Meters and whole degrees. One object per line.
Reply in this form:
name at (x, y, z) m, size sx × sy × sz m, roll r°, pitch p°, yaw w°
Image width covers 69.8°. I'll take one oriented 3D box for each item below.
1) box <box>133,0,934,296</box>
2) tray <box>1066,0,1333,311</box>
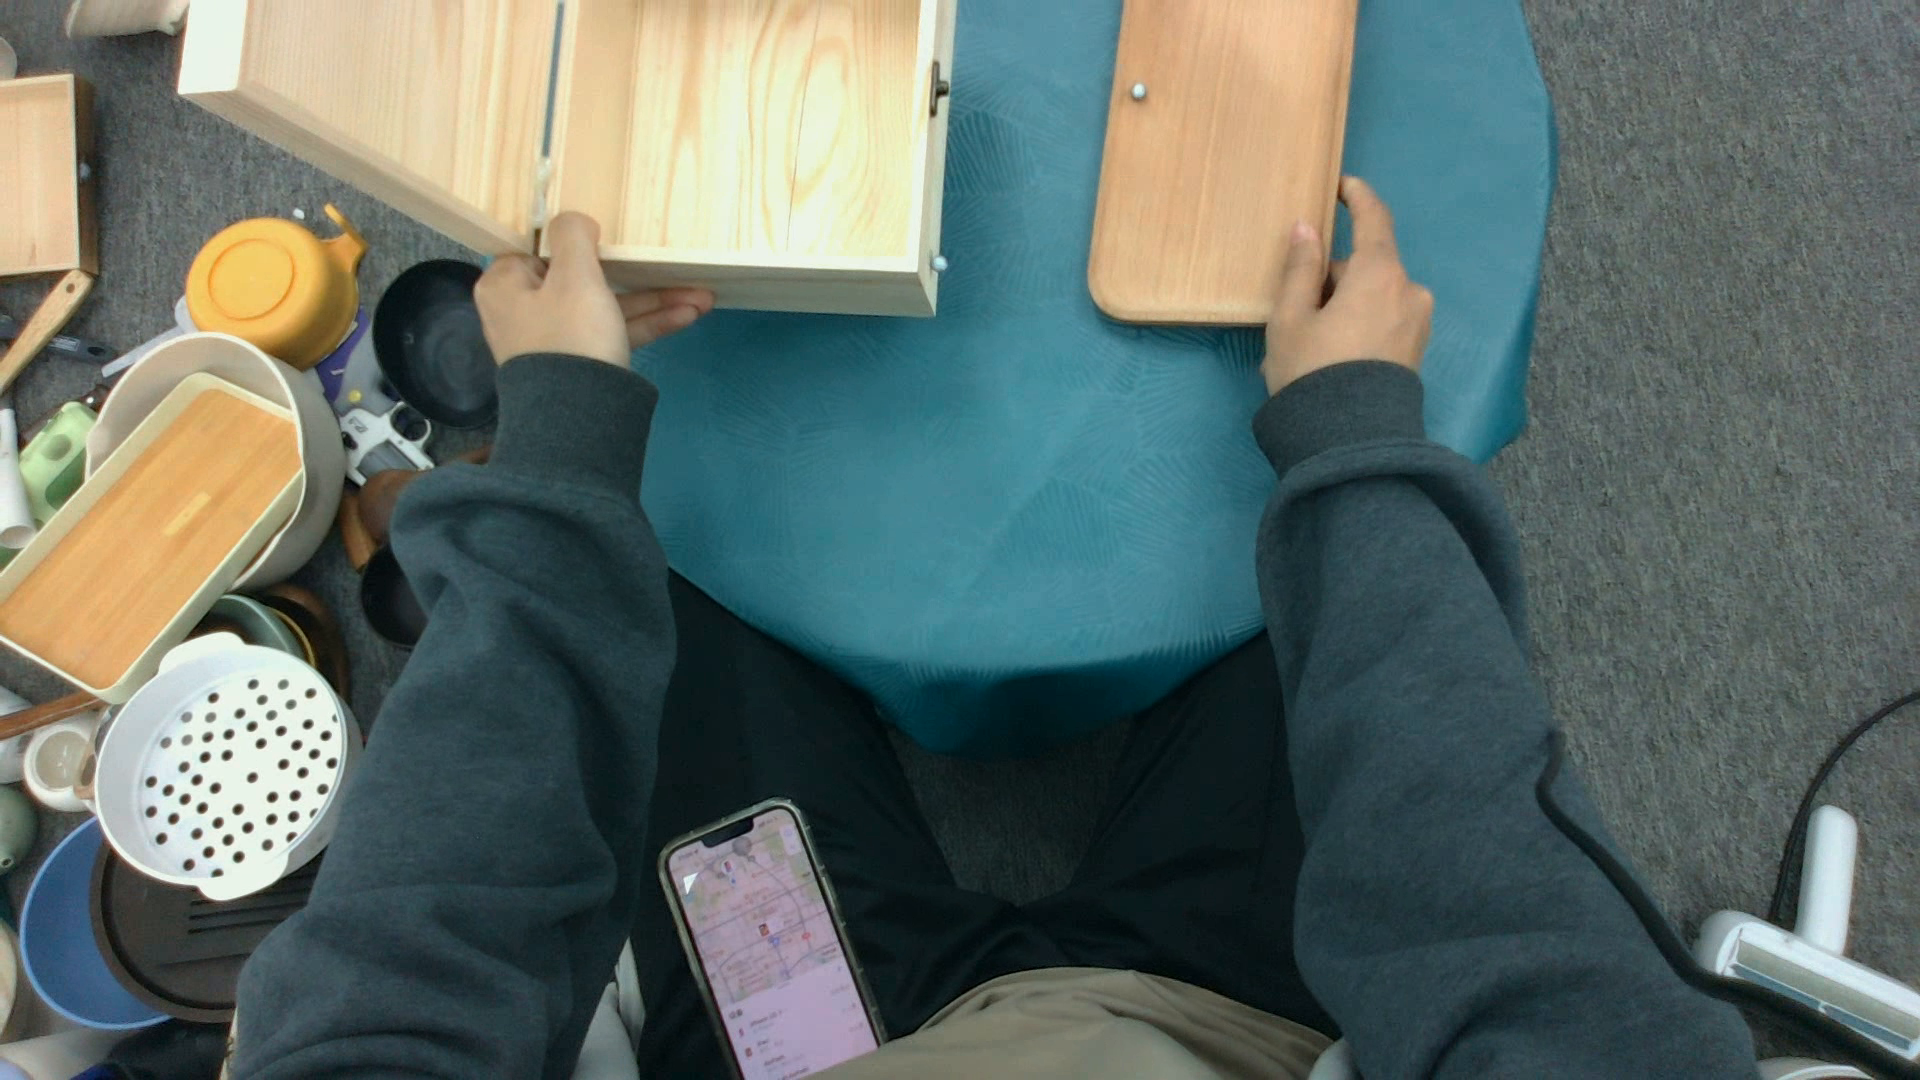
box at (-0.152, -0.229, 0.607) m, size 0.265 × 0.253 × 0.182 m, roll 2°, pitch 86°, yaw 6°
tray at (0.133, -0.242, 0.748) m, size 0.130 × 0.023 × 0.251 m, roll 4°, pitch 79°, yaw 21°
